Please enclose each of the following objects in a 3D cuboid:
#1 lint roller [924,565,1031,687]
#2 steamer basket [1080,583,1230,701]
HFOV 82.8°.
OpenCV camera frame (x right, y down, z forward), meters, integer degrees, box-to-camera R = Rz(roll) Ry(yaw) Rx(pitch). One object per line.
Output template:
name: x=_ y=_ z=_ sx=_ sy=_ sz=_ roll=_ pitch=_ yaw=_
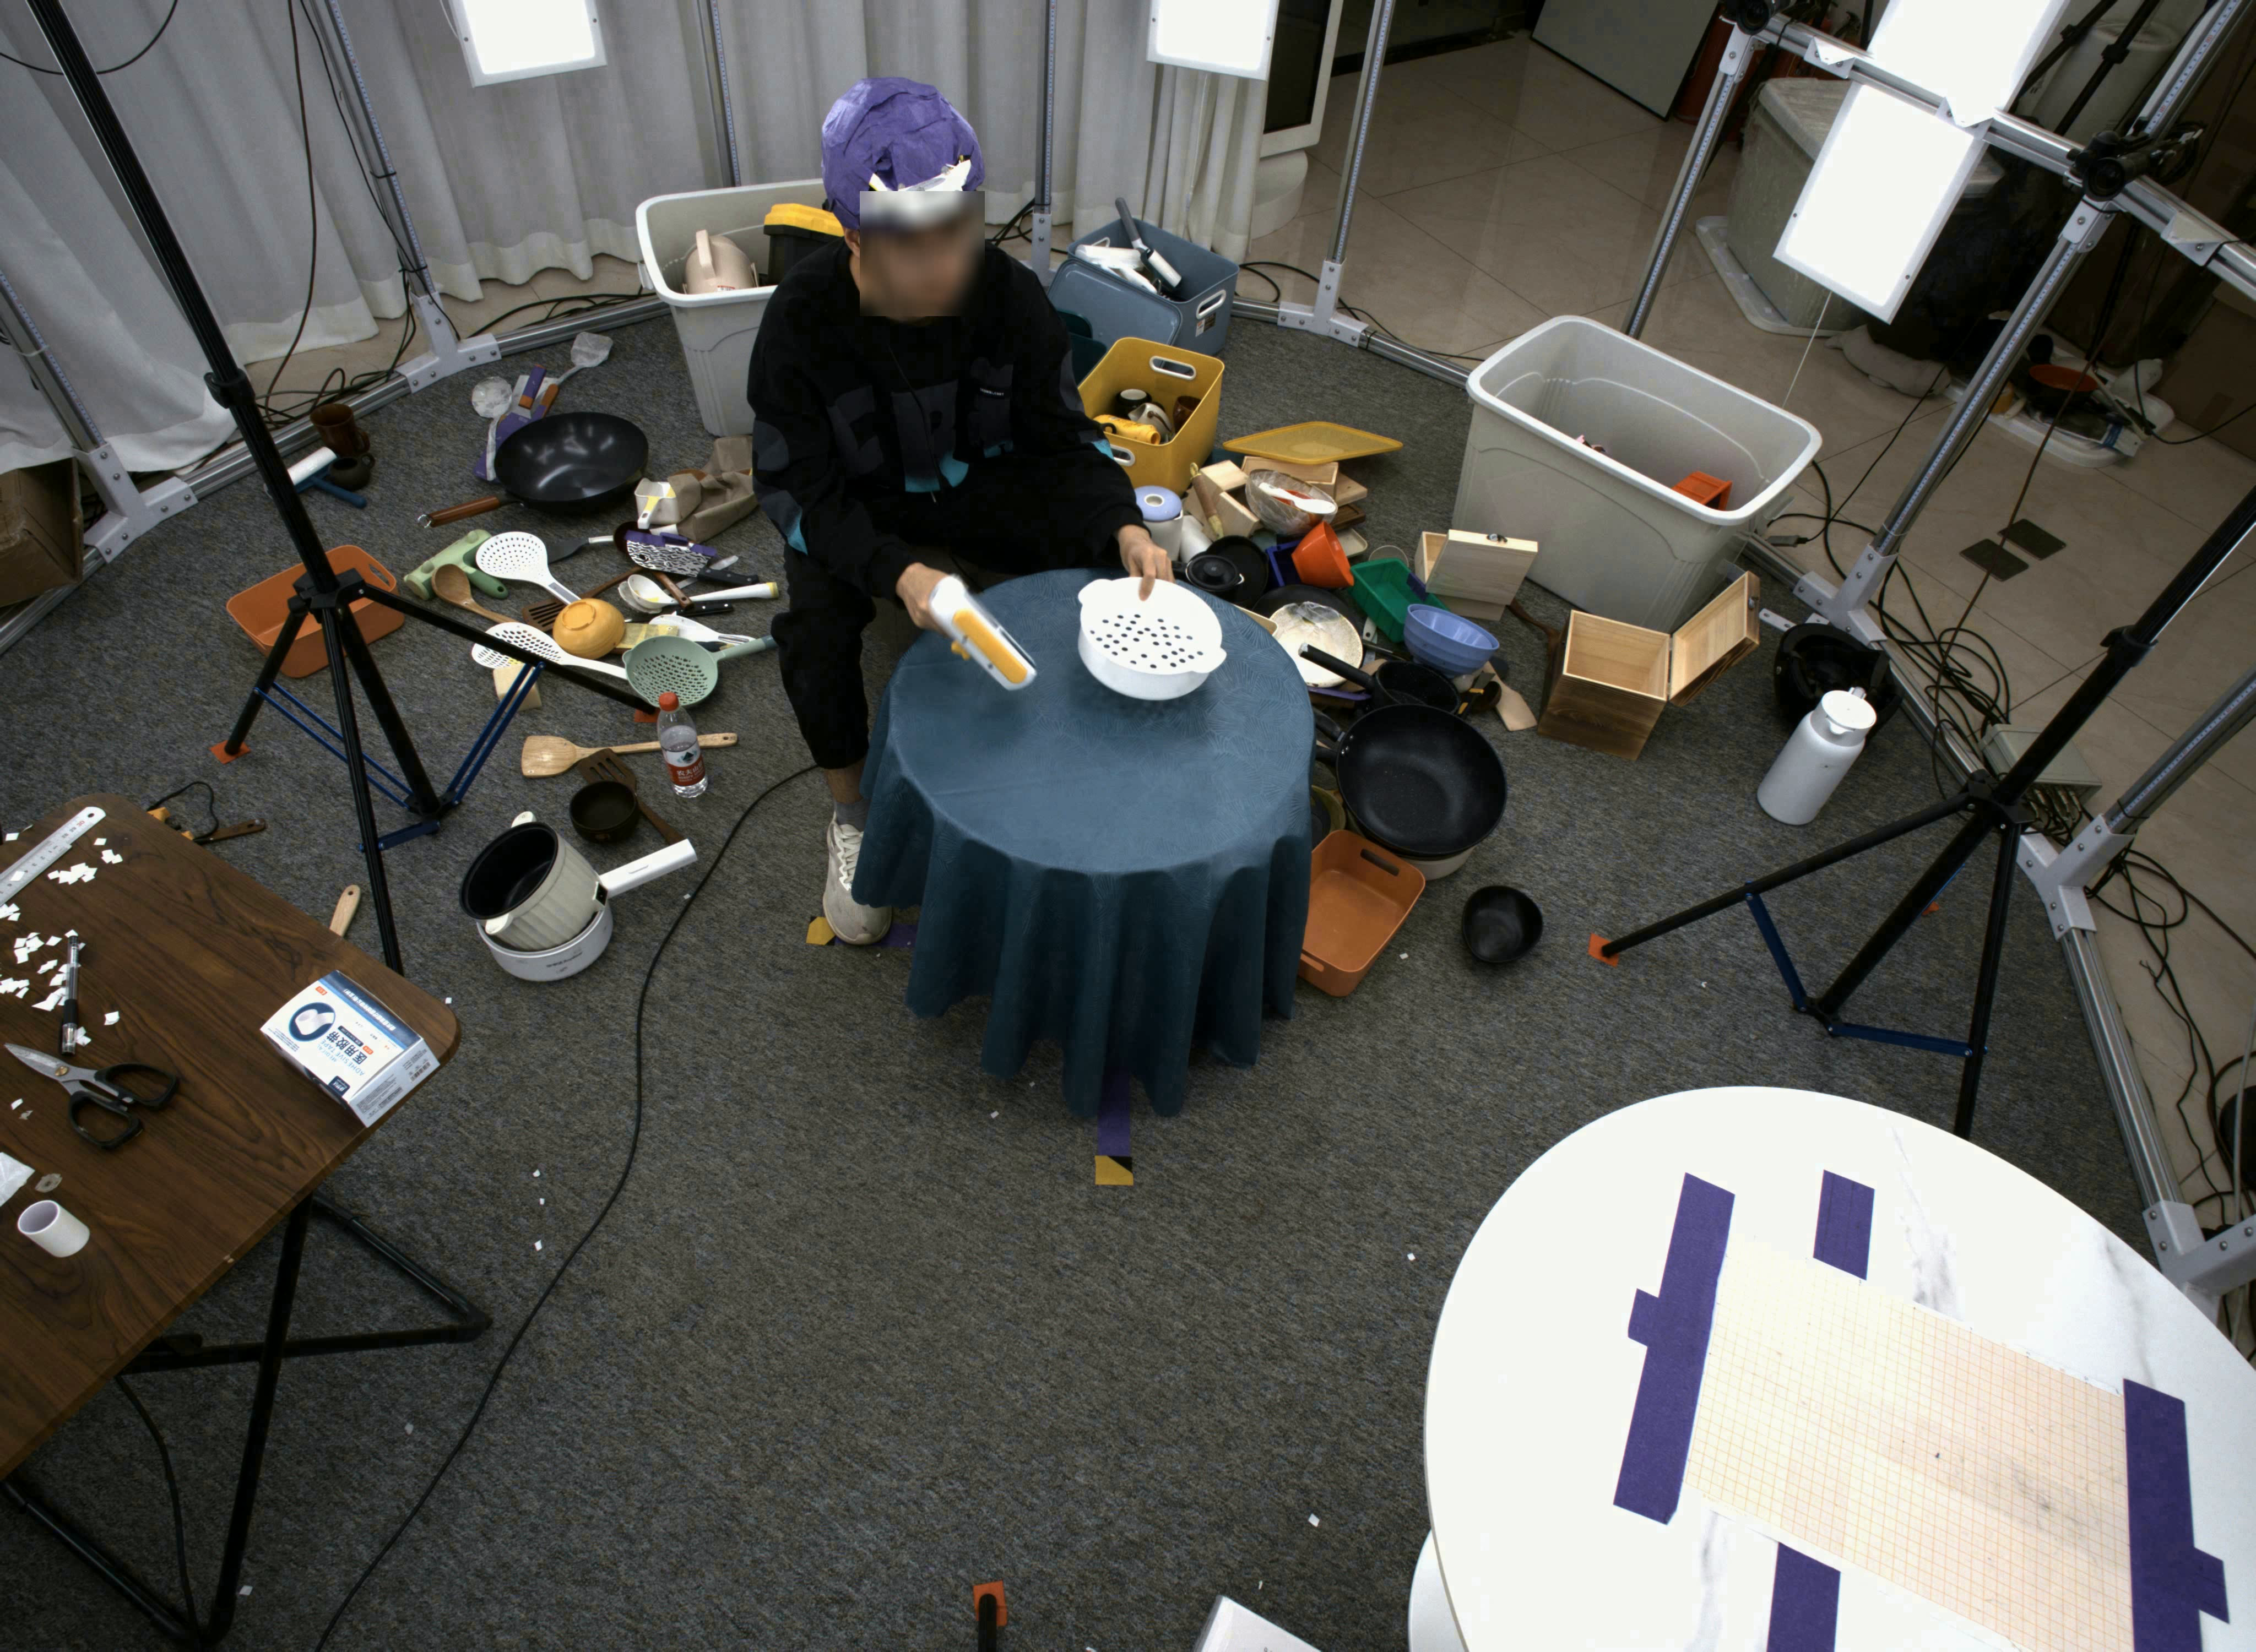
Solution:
lint roller: x=-0.224 y=-0.285 z=1.761 sx=0.074 sy=0.189 sz=0.196 roll=-43 pitch=35 yaw=3
steamer basket: x=0.032 y=-0.259 z=1.814 sx=0.233 sy=0.067 sz=0.204 roll=31 pitch=47 yaw=19
